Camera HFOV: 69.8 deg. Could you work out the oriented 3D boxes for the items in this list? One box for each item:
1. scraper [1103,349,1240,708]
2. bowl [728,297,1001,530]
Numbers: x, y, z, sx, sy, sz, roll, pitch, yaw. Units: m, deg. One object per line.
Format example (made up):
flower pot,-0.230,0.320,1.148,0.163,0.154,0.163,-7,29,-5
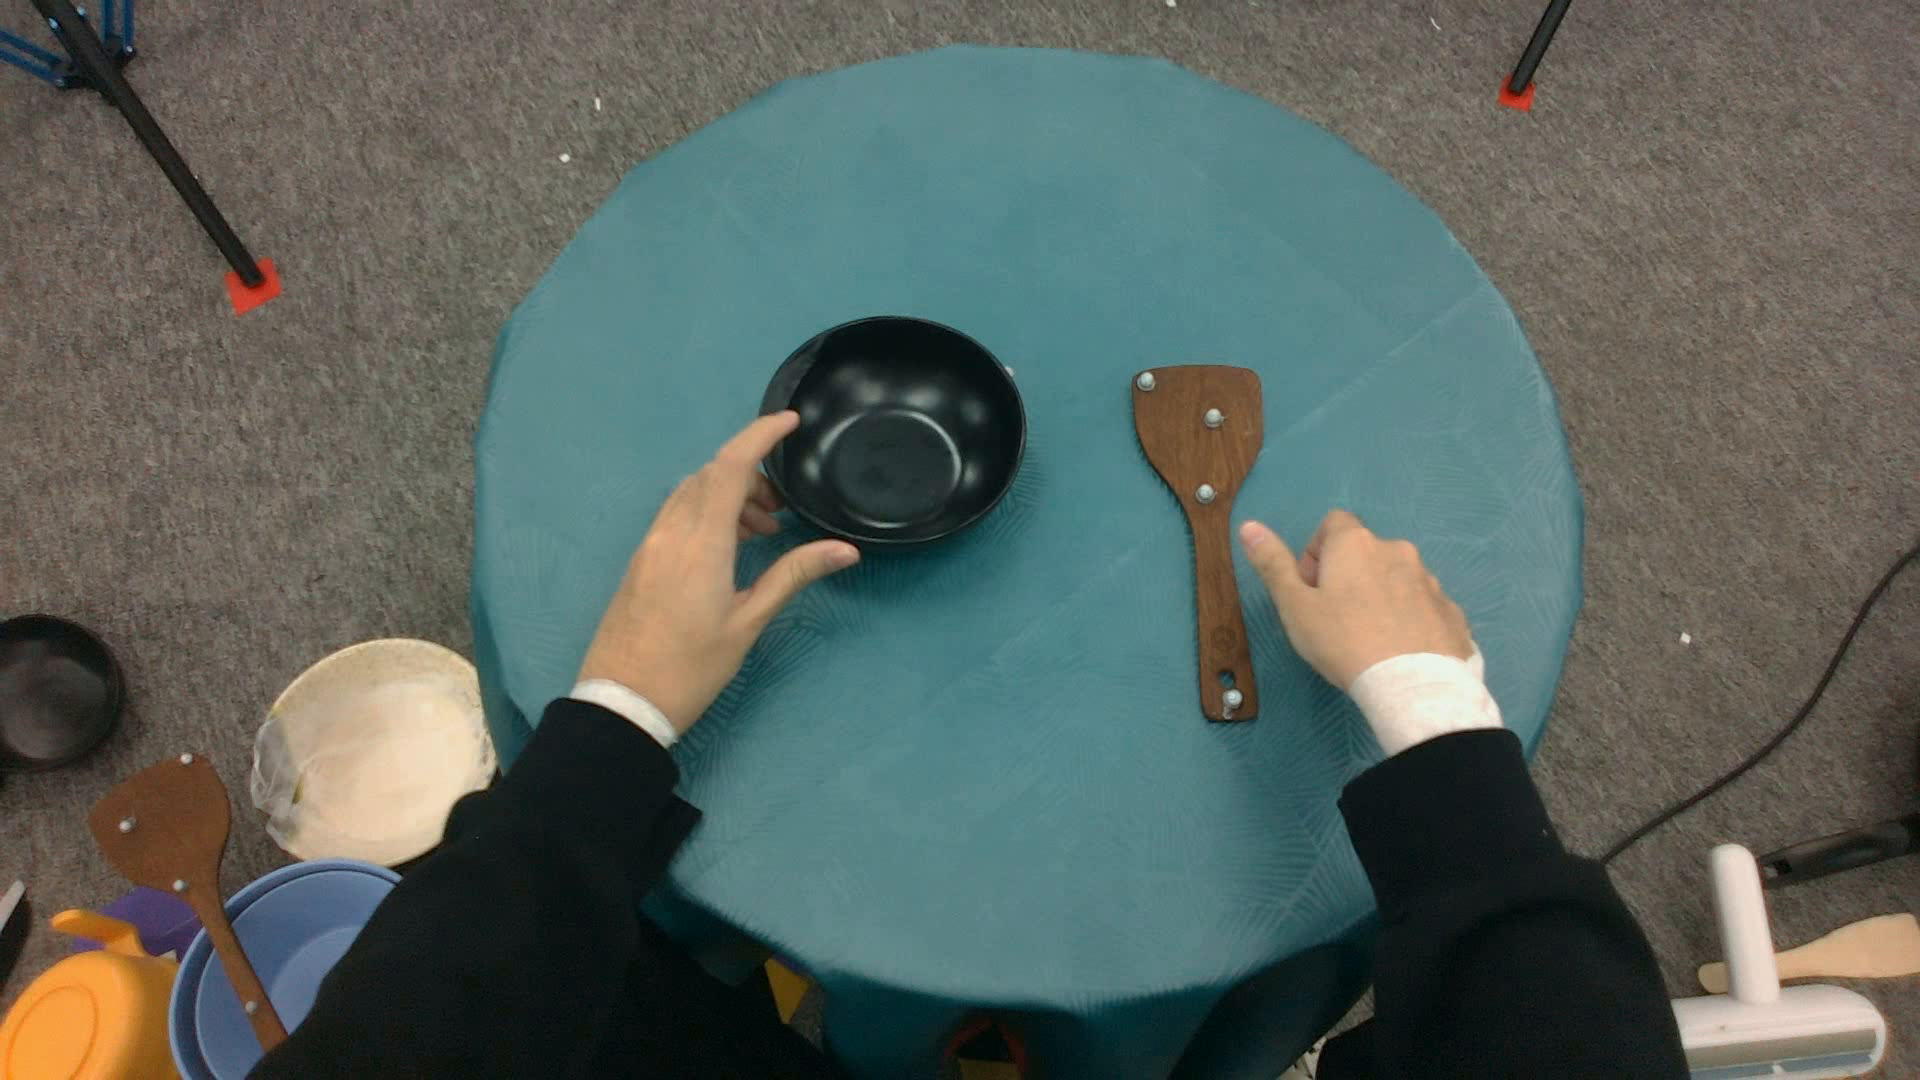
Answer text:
scraper,0.119,-0.011,0.732,0.076,0.011,0.212,0,63,-2
bowl,-0.050,-0.059,0.720,0.140,0.049,0.140,3,59,-5
